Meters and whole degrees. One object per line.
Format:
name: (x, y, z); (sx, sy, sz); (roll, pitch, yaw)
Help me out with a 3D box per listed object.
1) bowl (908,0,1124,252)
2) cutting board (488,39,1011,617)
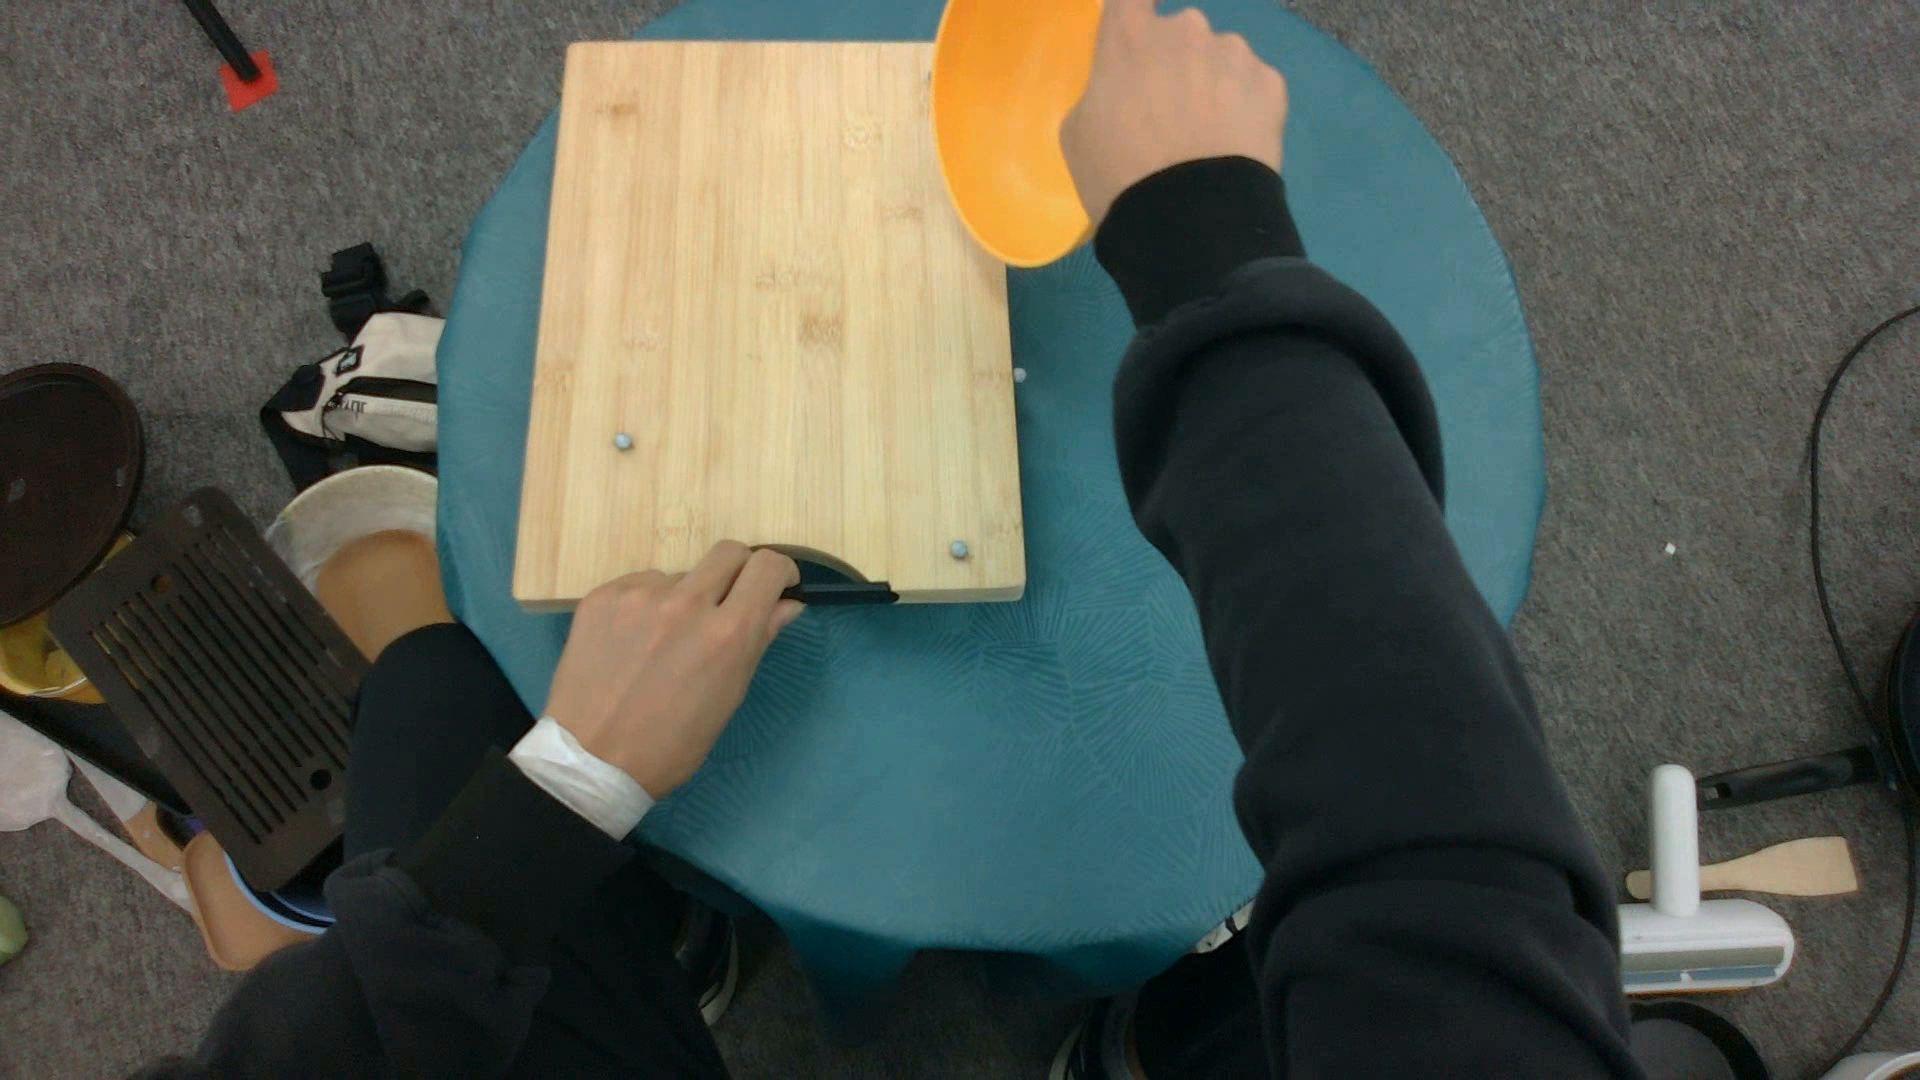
bowl: (0.036, -0.215, 0.662); (0.060, 0.144, 0.145); (-15, 73, -30)
cutting board: (-0.105, -0.126, 0.720); (0.251, 0.023, 0.350); (-2, 65, -4)
